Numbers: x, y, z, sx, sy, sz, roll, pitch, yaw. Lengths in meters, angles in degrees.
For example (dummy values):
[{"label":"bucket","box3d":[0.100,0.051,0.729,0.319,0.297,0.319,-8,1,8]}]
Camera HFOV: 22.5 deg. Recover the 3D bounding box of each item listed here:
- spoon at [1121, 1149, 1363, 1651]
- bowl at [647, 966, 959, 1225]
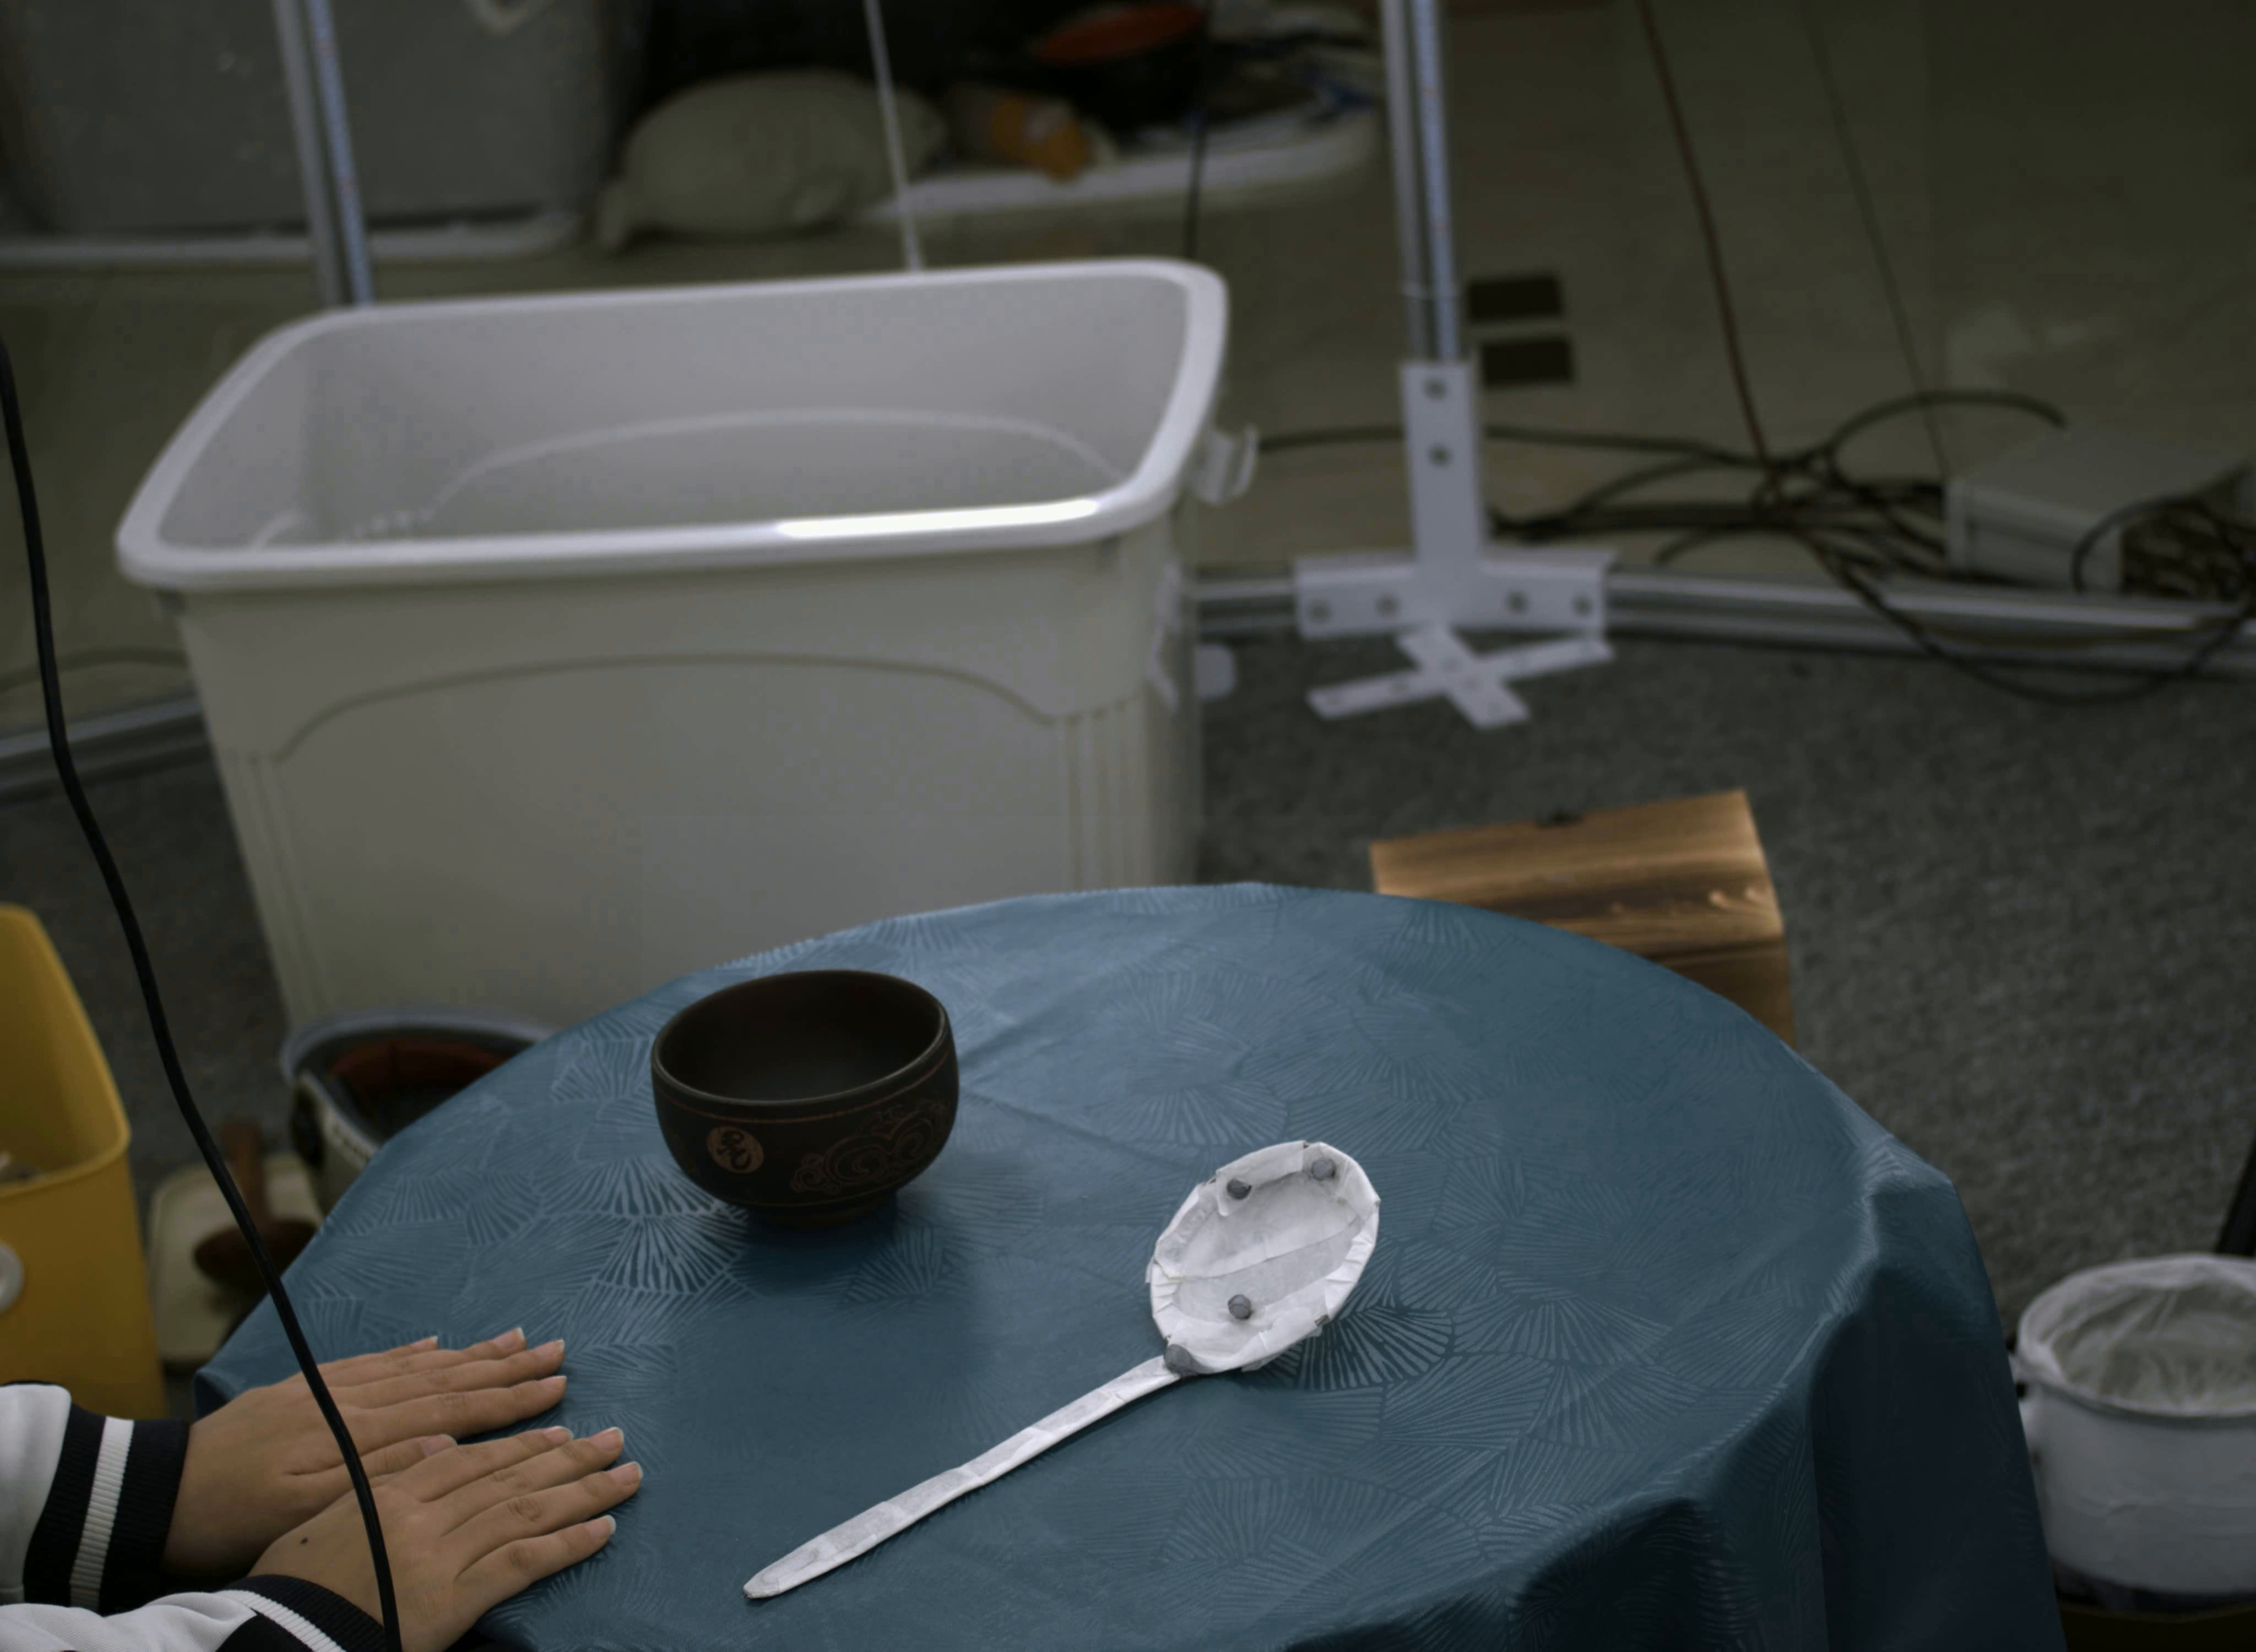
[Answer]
[{"label":"spoon","box3d":[0.050,0.251,2.029,0.101,0.276,0.059,-13,-12,37]},{"label":"bowl","box3d":[-0.121,0.108,2.156,0.118,0.071,0.116,-5,25,3]}]
